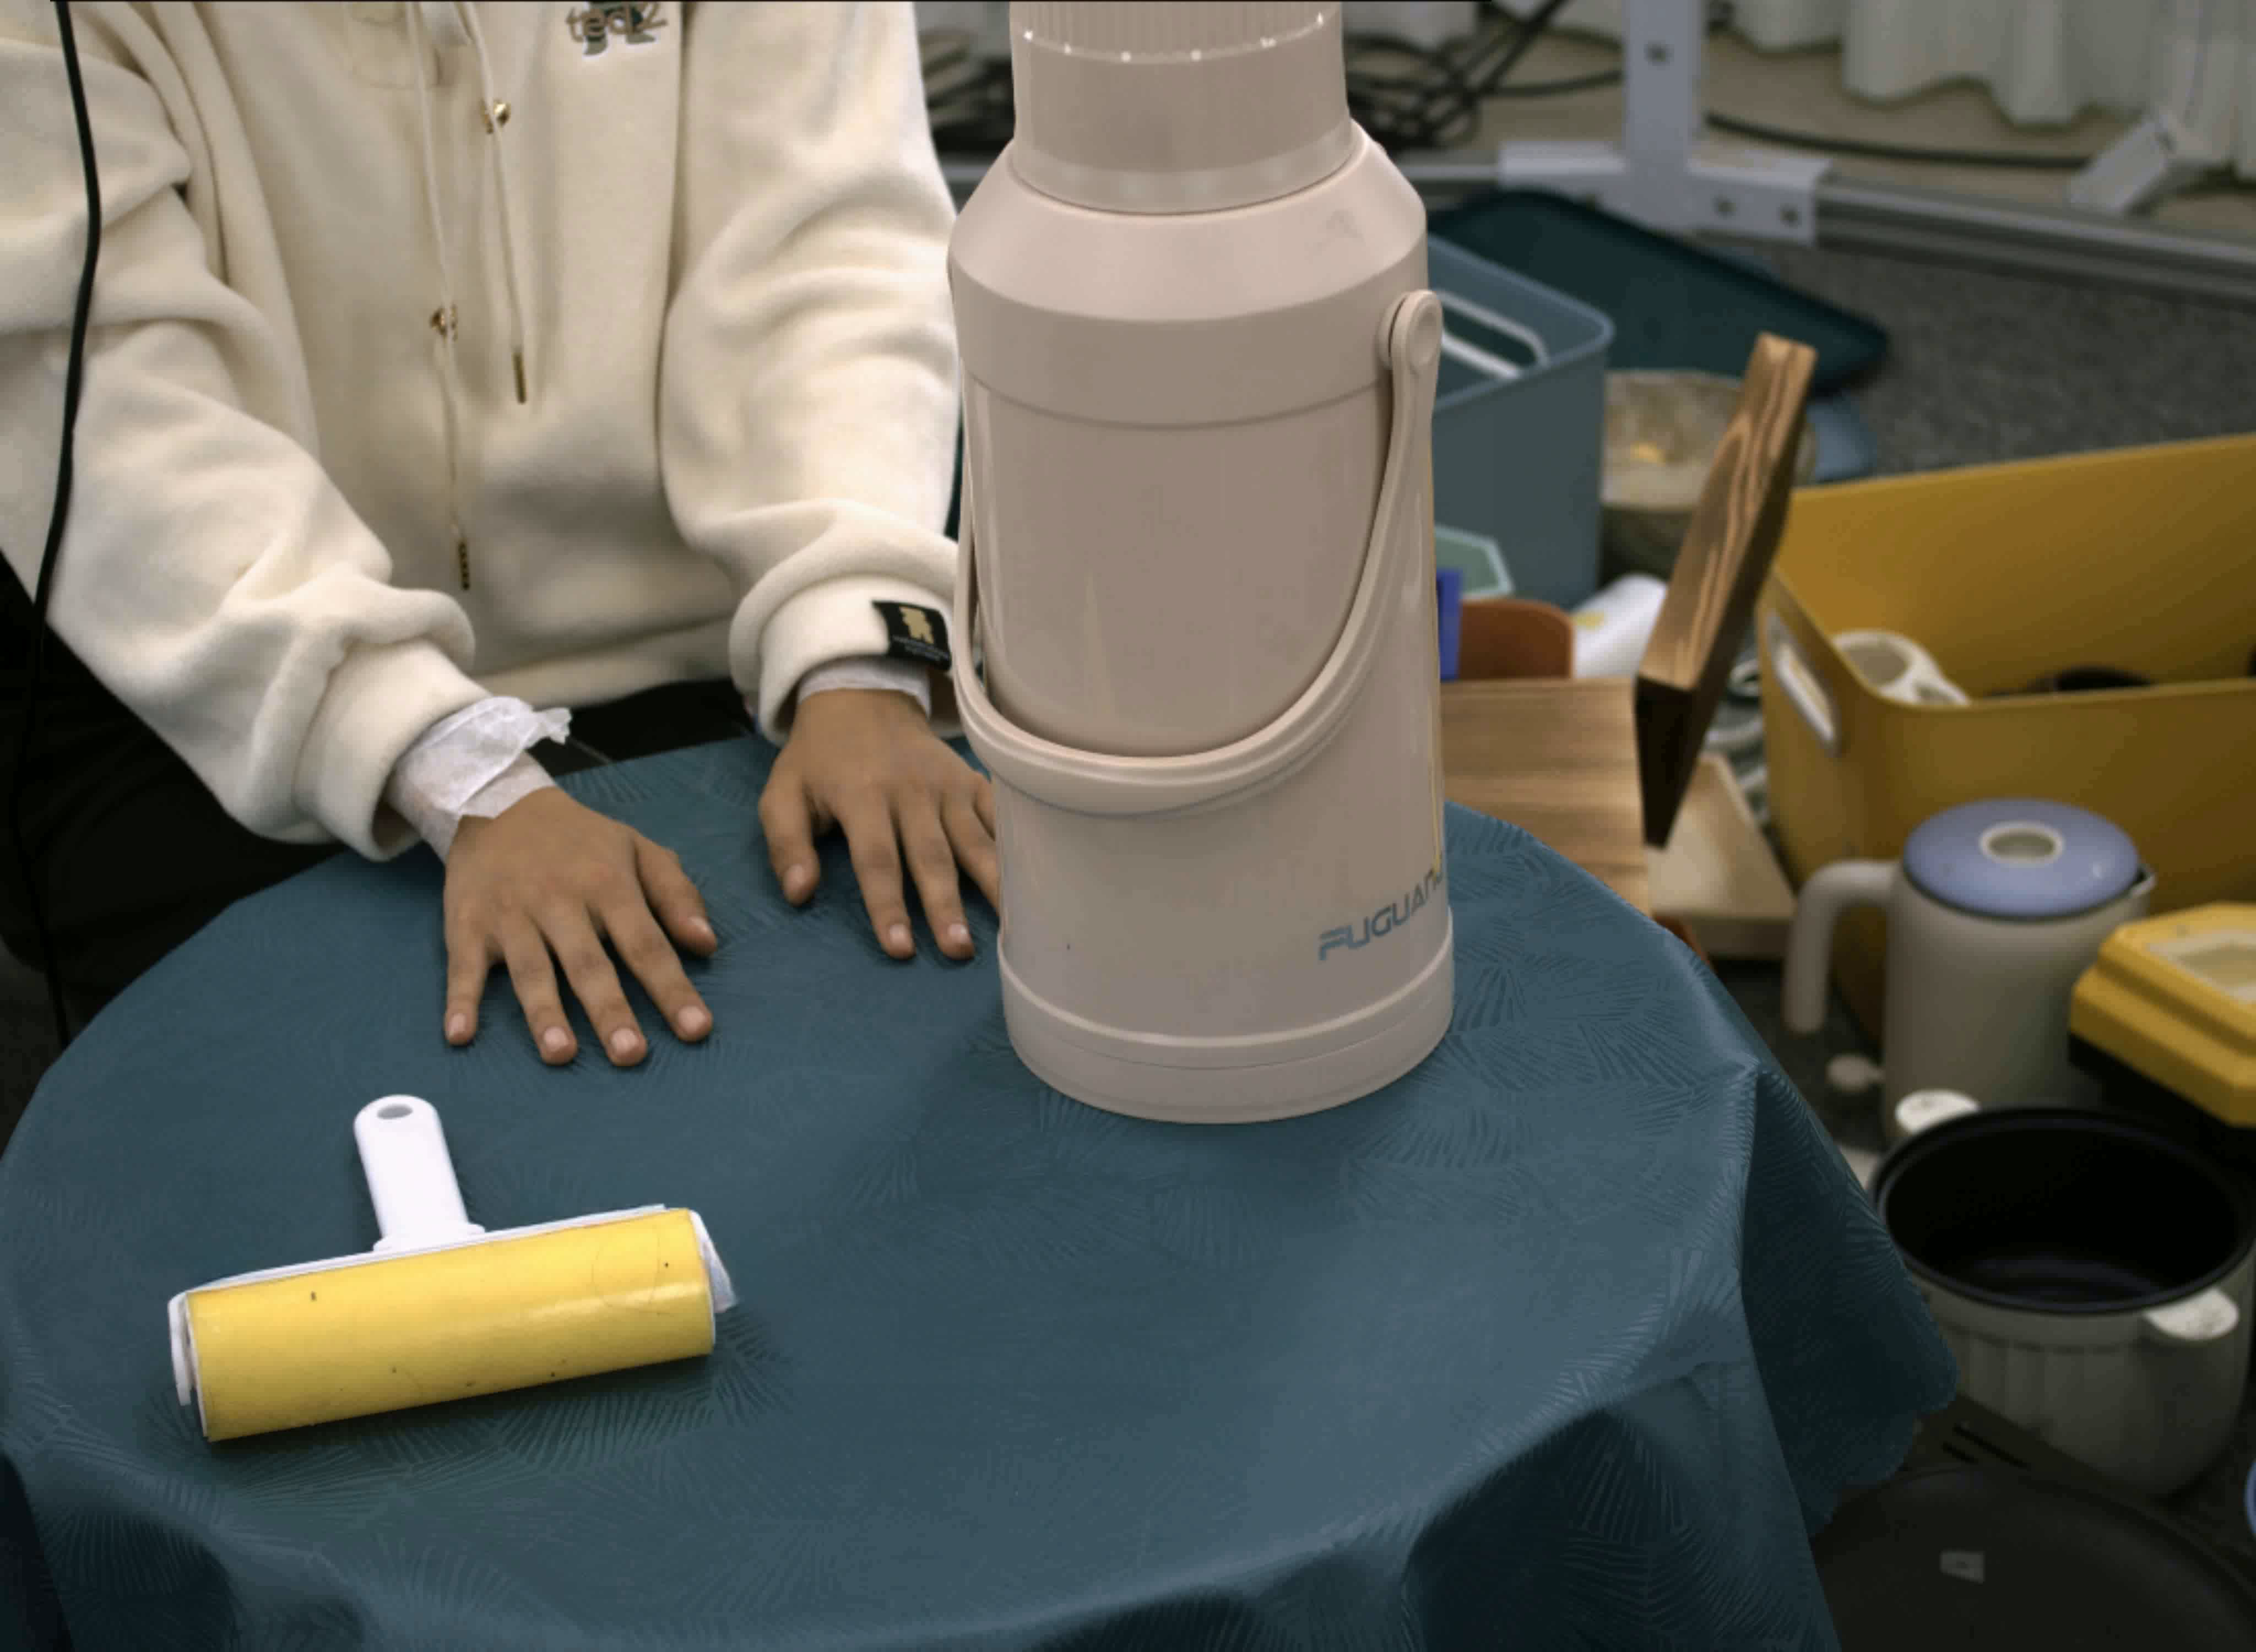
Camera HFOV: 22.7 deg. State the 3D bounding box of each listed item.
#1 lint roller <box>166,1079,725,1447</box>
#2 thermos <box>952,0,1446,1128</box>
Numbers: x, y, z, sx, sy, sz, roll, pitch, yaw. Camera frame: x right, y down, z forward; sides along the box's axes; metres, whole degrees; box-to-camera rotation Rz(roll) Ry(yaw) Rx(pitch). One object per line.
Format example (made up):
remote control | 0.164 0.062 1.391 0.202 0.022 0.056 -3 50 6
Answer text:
lint roller | -0.232 0.123 1.822 0.174 0.051 0.194 -9 33 -12
thermos | 0.033 -0.115 1.891 0.174 0.402 0.210 12 30 29
